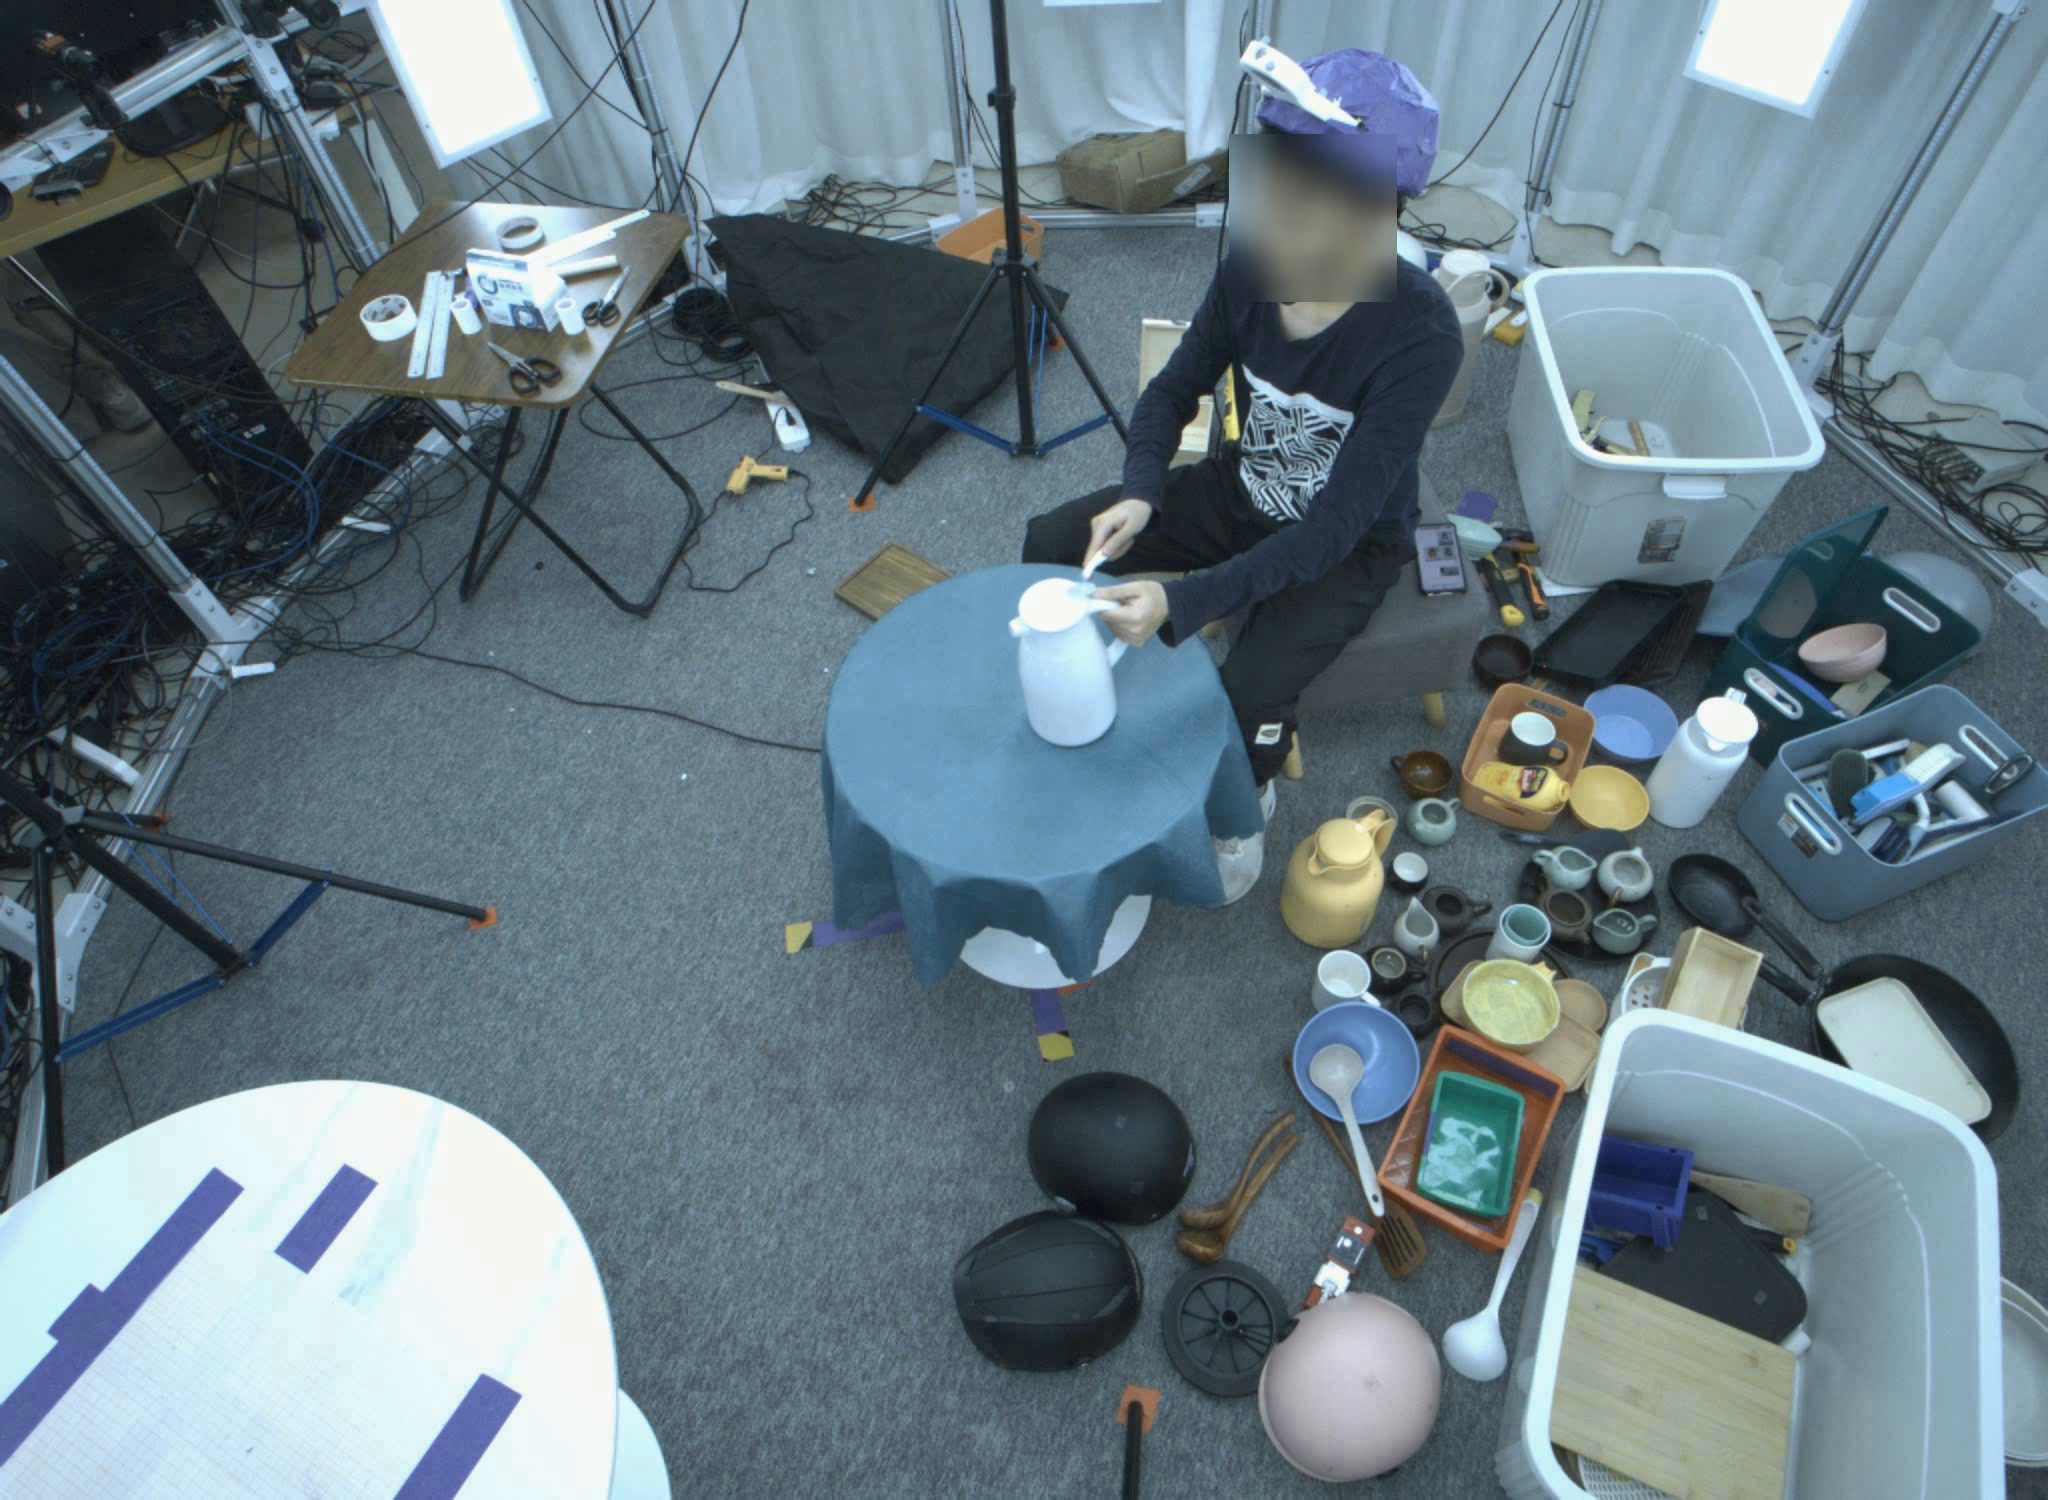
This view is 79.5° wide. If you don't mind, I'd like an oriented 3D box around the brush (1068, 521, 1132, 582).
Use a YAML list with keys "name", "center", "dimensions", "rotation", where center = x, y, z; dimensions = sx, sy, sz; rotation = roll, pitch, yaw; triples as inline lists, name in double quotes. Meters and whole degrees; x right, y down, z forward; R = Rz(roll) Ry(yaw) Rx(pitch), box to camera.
- name: "brush"
  center: [0.108, -0.264, 1.794]
  dimensions: [0.050, 0.034, 0.245]
  rotation: [42, 50, 1]

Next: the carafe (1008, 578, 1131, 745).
- name: "carafe"
  center: [0.070, -0.136, 1.712]
  dimensions: [0.168, 0.252, 0.130]
  rotation: [-24, 56, -7]
